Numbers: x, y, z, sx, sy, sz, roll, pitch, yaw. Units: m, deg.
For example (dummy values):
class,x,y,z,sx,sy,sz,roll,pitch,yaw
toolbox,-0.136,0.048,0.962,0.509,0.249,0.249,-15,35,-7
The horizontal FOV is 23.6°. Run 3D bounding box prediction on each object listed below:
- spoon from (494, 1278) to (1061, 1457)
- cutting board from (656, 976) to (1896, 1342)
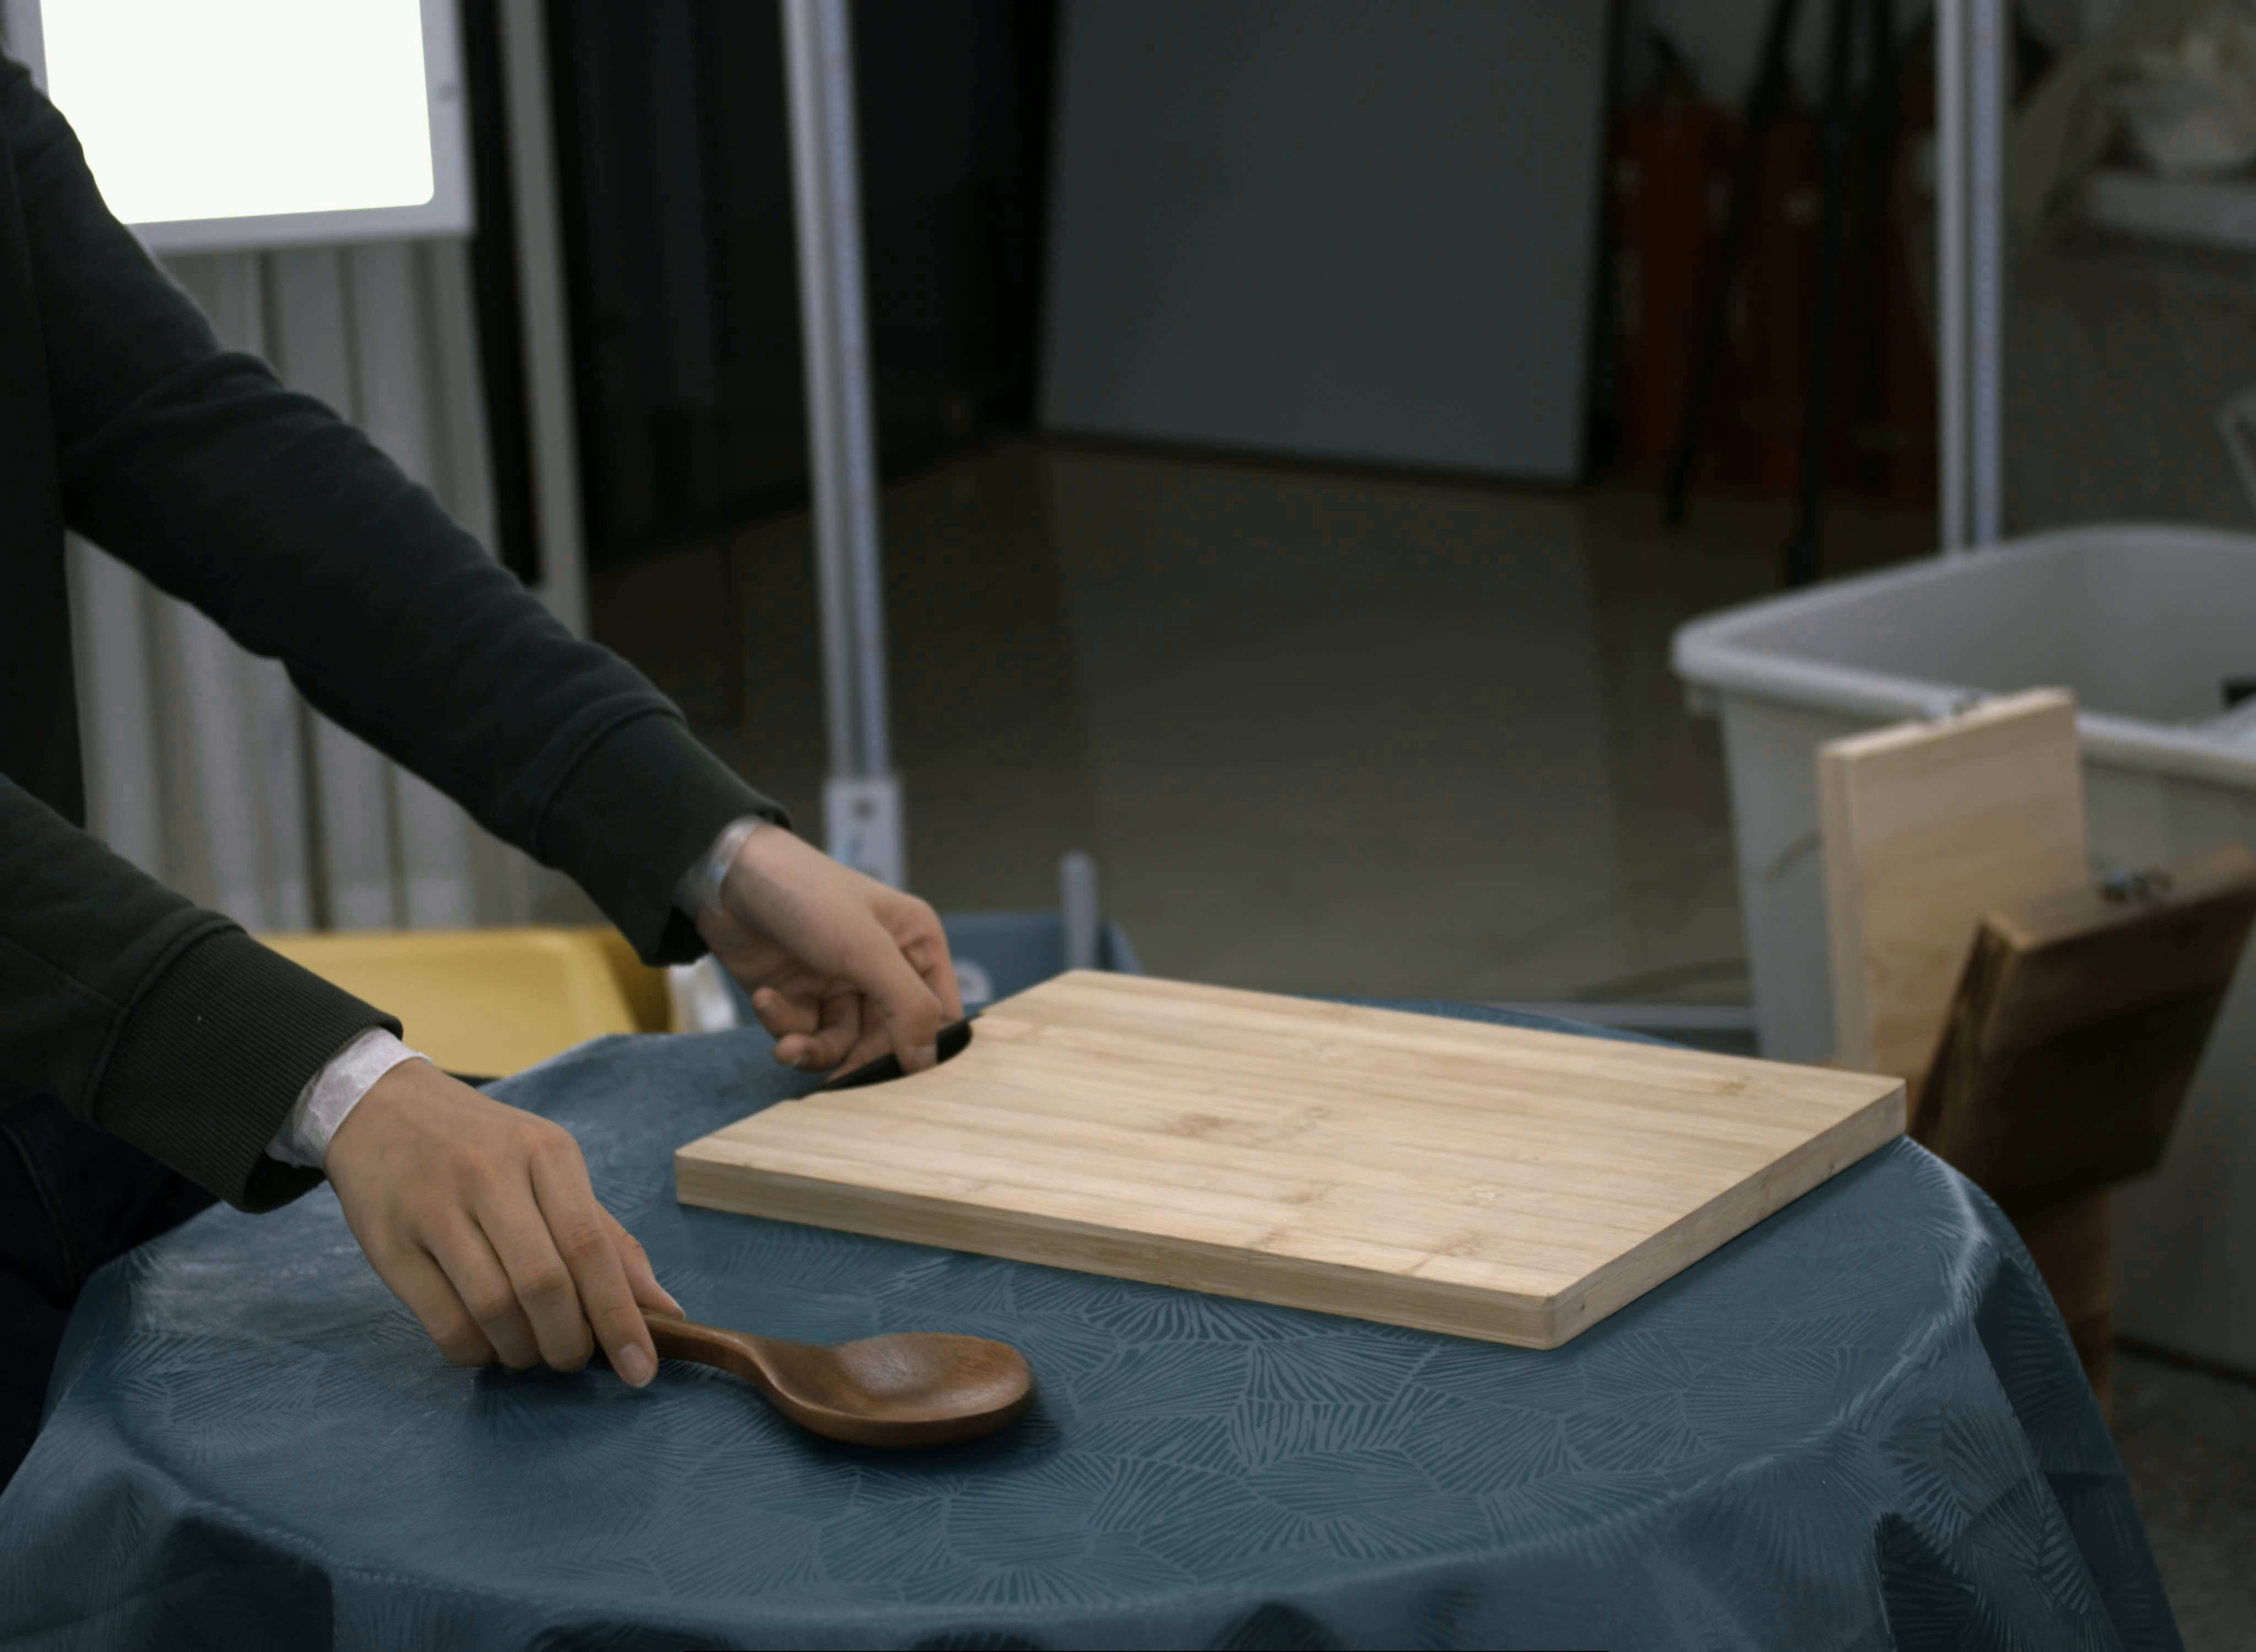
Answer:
class,x,y,z,sx,sy,sz,roll,pitch,yaw
spoon,-0.109,0.160,1.610,0.217,0.017,0.074,9,21,40
cutting board,0.049,0.105,1.788,0.350,0.024,0.246,5,16,34
